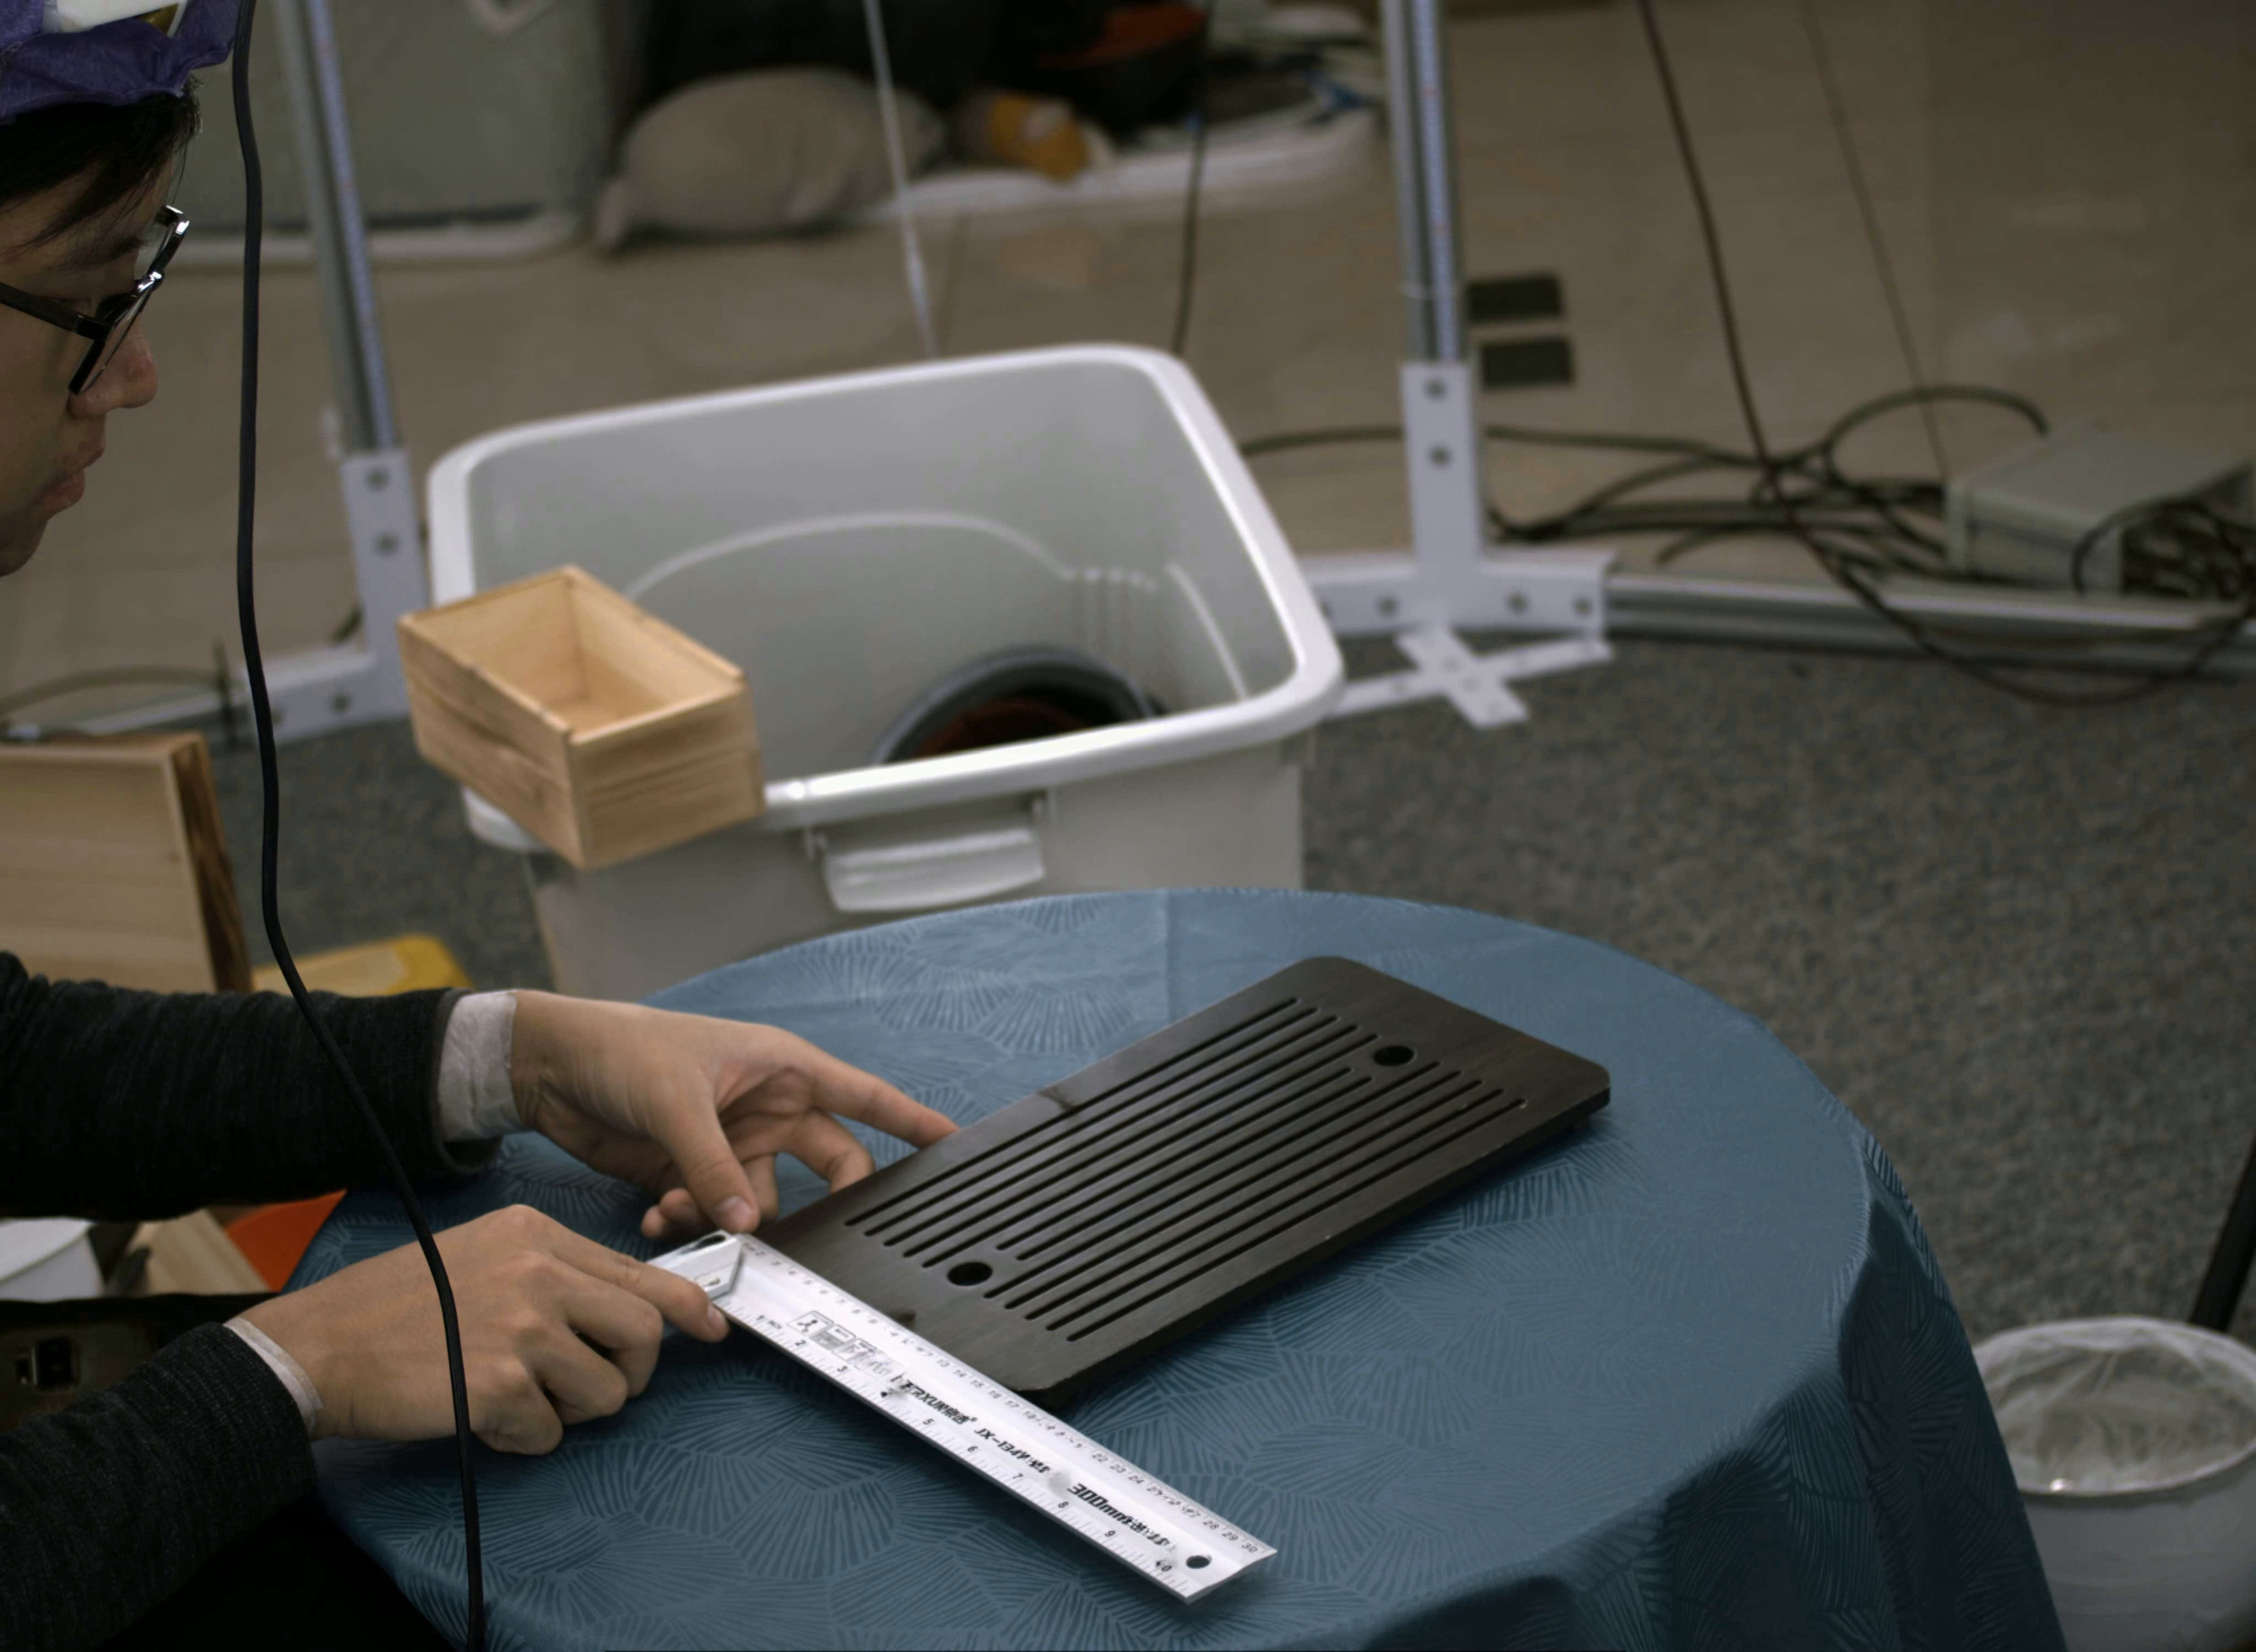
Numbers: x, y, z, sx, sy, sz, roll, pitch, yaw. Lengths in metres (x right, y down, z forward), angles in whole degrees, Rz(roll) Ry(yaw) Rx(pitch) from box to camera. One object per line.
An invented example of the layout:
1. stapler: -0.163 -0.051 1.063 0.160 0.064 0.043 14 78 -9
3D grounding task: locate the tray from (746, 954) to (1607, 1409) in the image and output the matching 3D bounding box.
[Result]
1. tray: 0.021 0.131 2.134 0.303 0.019 0.168 -25 33 -34

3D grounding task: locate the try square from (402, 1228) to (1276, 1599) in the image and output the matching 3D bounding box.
1. try square: -0.106 0.220 1.960 0.151 0.016 0.310 -24 32 -32
